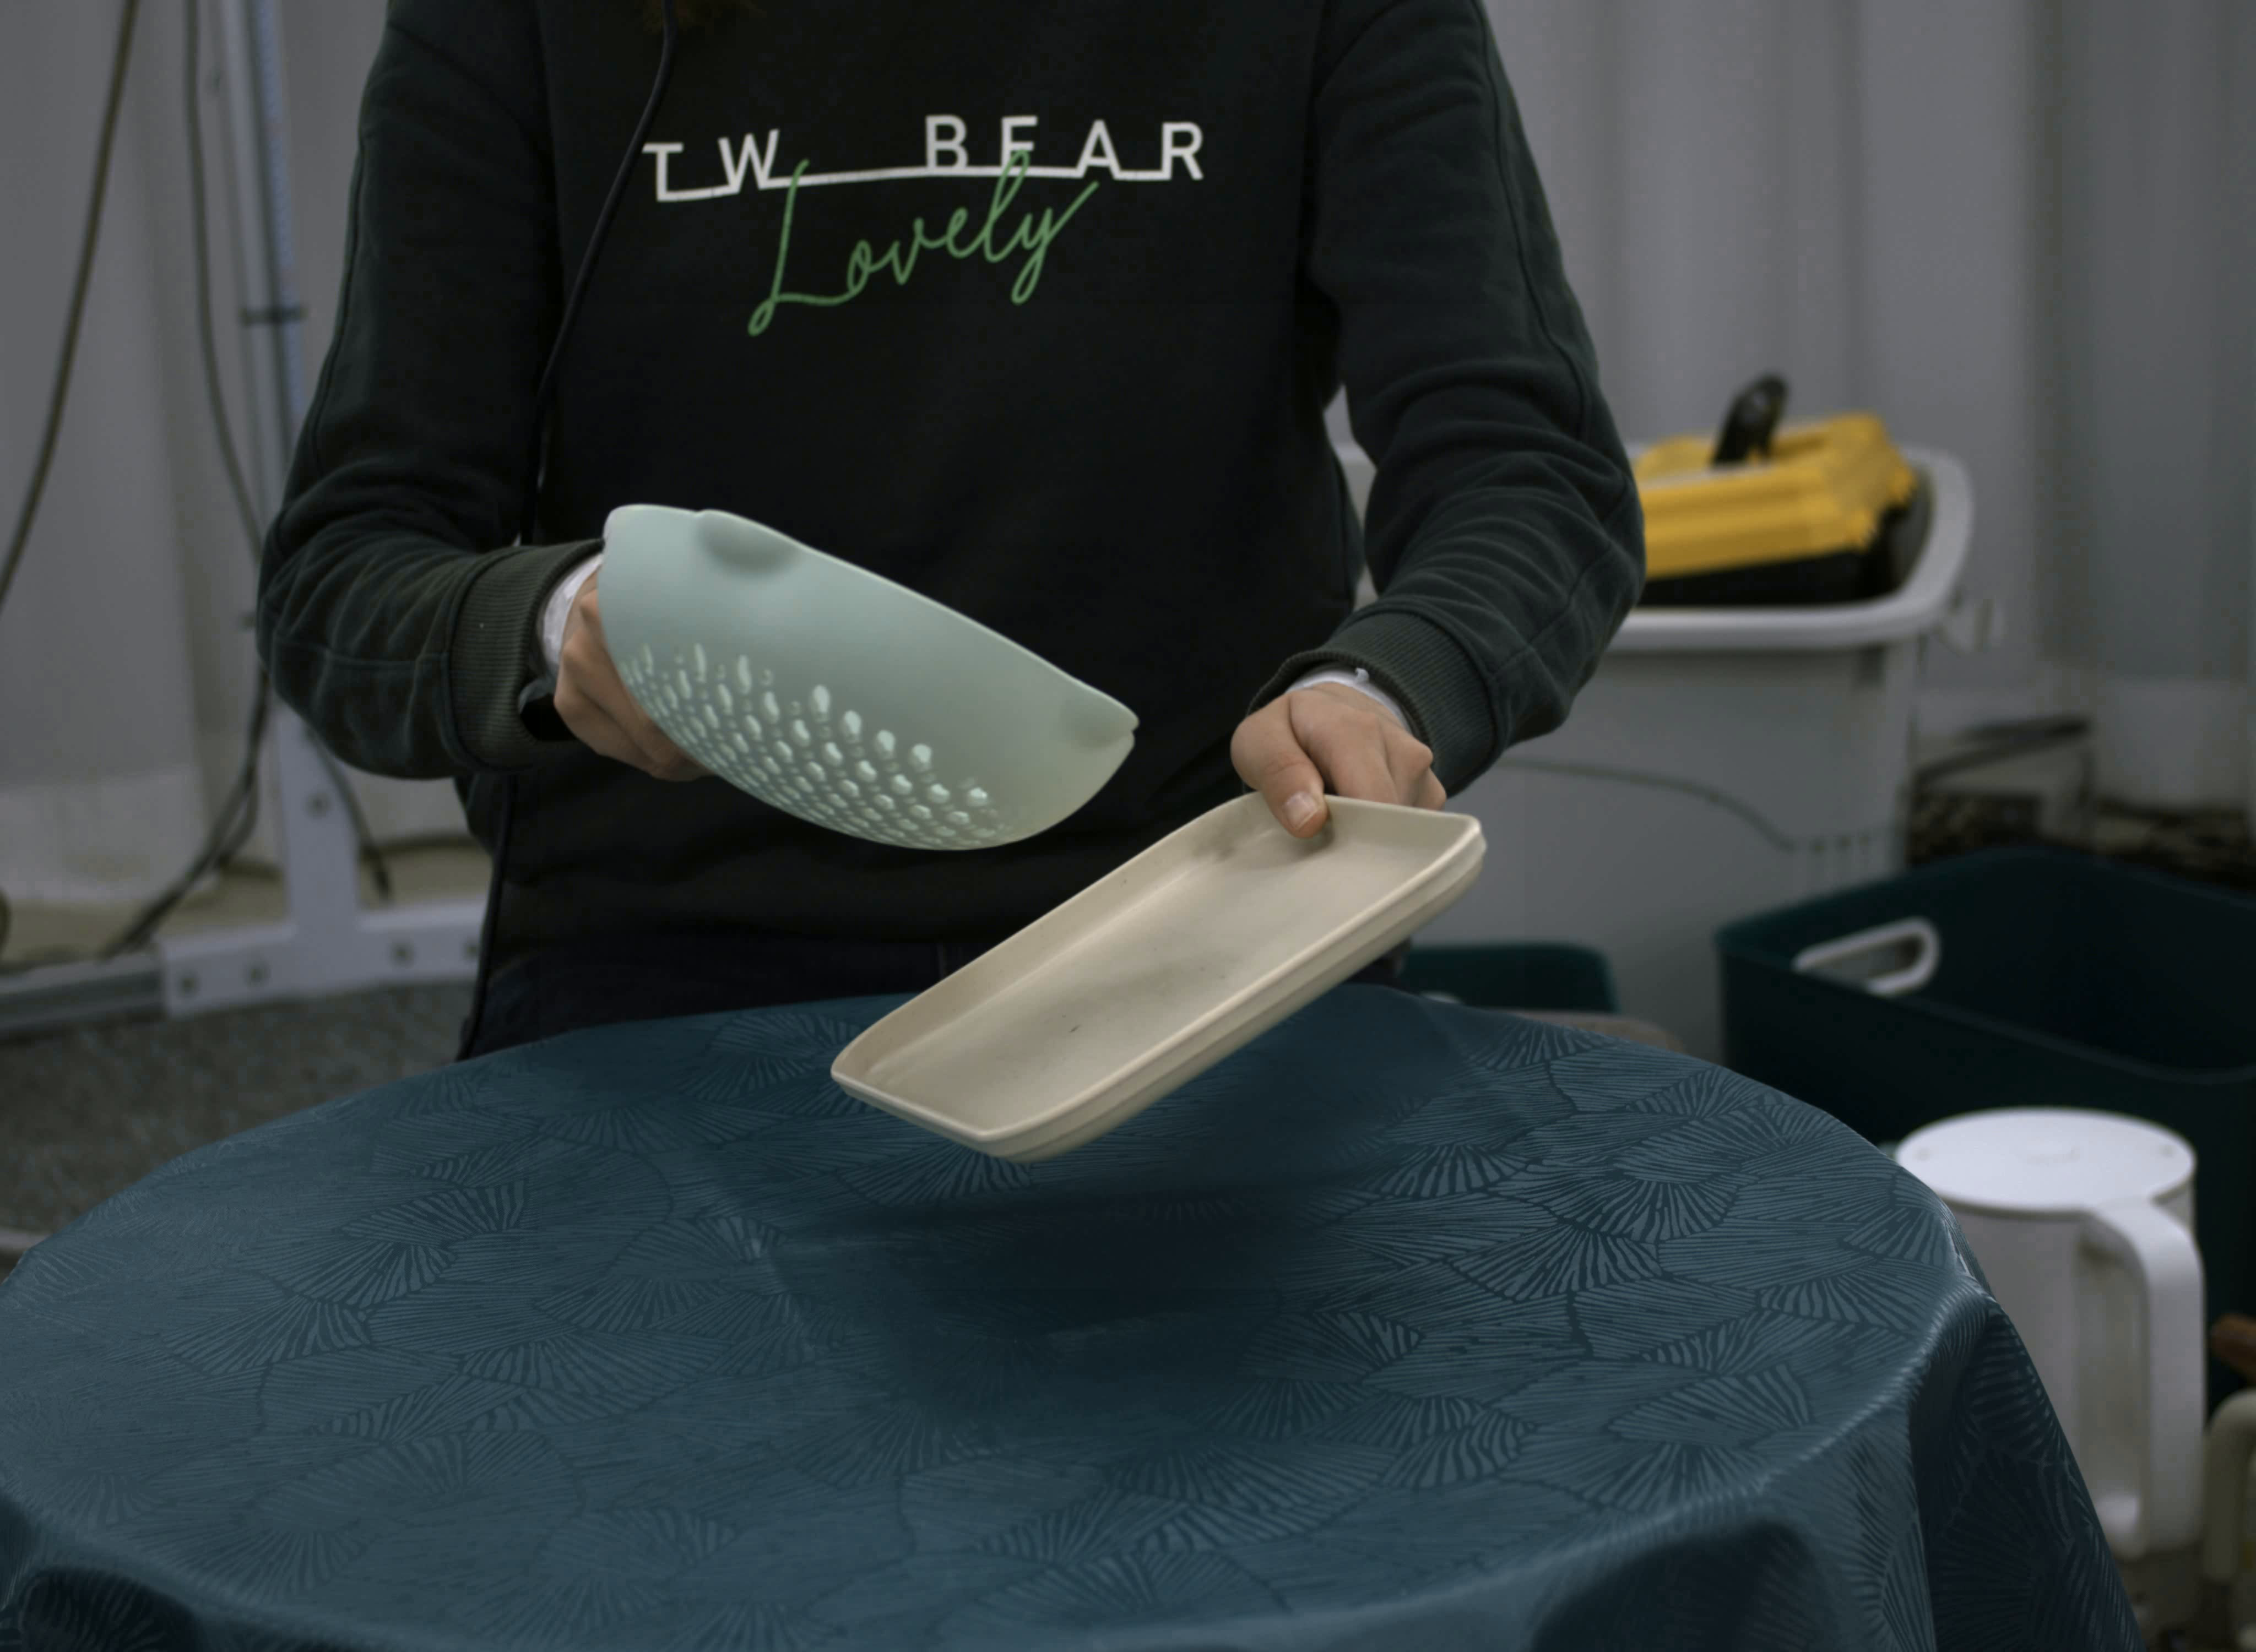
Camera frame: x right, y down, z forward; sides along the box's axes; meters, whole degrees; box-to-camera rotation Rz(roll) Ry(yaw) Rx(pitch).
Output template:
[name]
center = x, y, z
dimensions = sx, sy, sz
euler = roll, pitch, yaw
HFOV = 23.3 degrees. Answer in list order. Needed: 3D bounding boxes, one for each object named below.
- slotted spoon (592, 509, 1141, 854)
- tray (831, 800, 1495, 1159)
[slotted spoon]
center = -0.113, -0.038, 1.700
dimensions = 0.168, 0.075, 0.360
euler = 27, -4, -15
[tray]
center = 0.008, 0.044, 1.610
dimensions = 0.171, 0.017, 0.240
euler = -32, 10, -13
